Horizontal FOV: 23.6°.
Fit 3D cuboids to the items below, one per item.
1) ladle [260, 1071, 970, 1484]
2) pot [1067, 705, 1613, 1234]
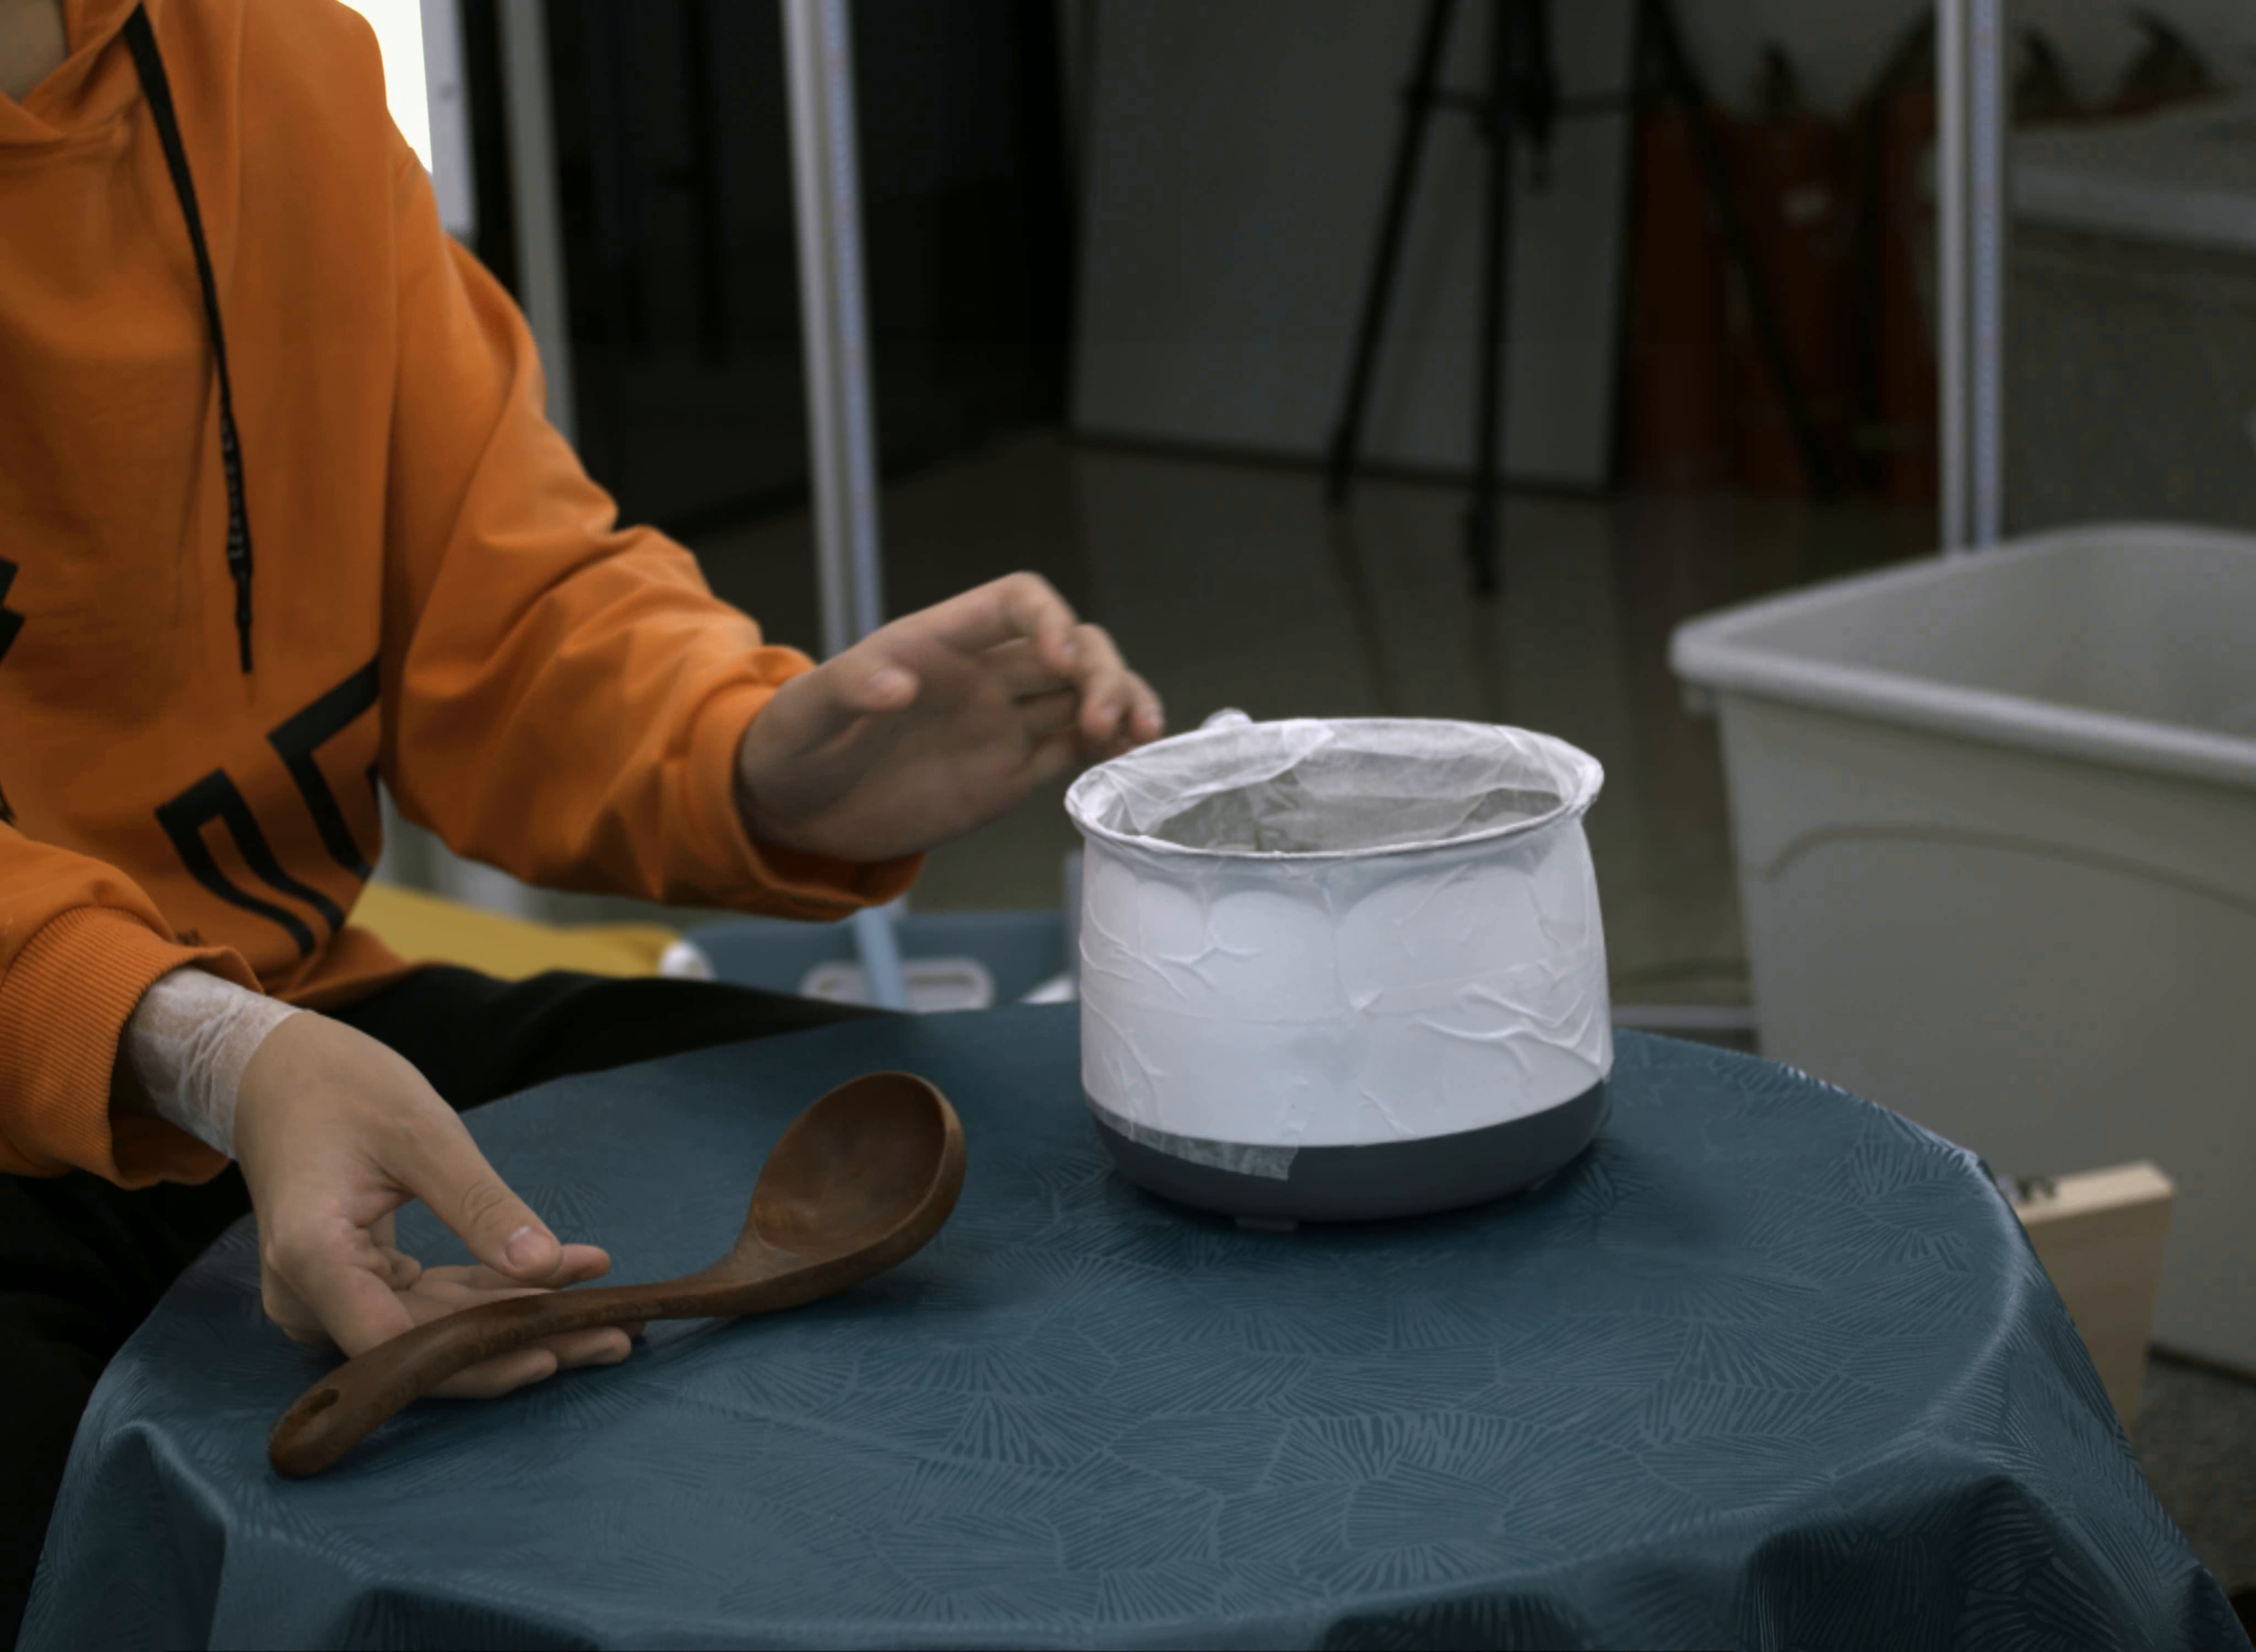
[{"bbox_3d":[-0.154,0.133,1.634,0.254,0.066,0.077,-15,13,-39],"label":"ladle"},{"bbox_3d":[0.061,0.041,1.790,0.175,0.138,0.236,-8,14,-18],"label":"pot"}]
